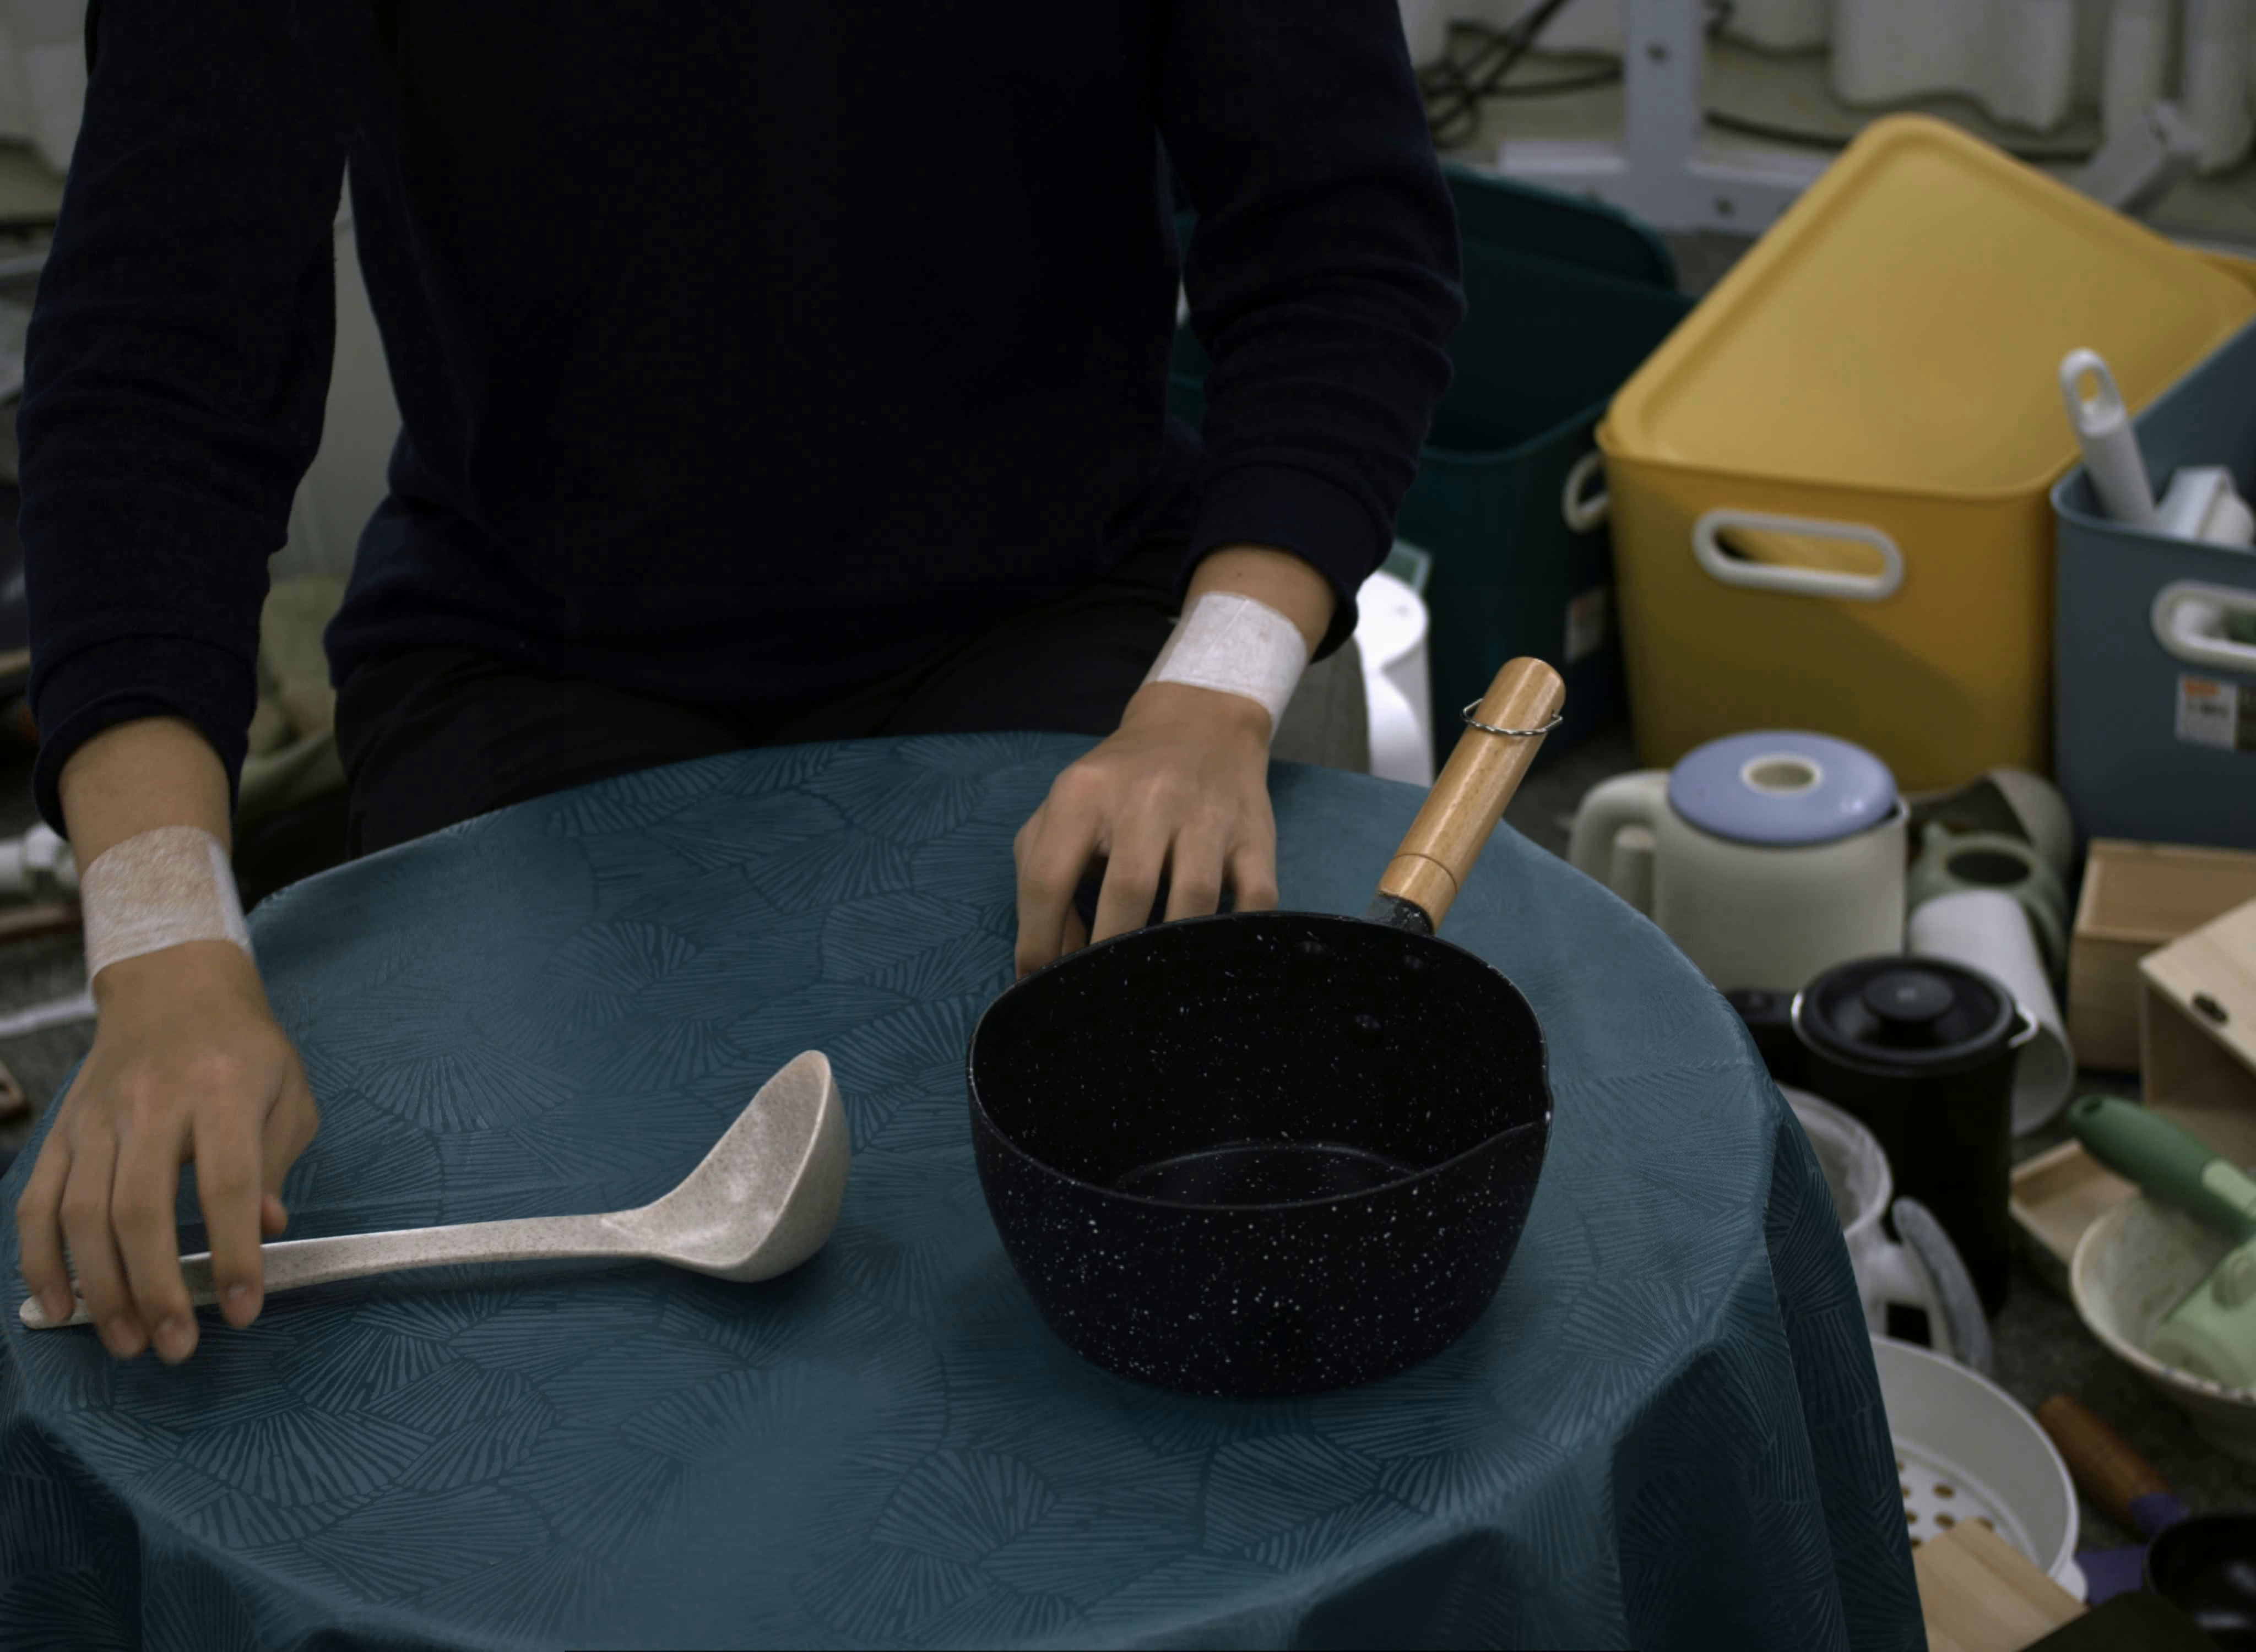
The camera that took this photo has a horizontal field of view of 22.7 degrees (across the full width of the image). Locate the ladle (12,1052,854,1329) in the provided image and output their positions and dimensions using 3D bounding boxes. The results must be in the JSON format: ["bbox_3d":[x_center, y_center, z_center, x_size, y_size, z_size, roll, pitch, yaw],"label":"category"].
[{"bbox_3d":[-0.225,0.120,1.812,0.274,0.068,0.091,-4,33,-4],"label":"ladle"}]

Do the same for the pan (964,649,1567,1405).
[{"bbox_3d":[0.073,0.062,1.854,0.206,0.107,0.349,8,31,22],"label":"pan"}]
